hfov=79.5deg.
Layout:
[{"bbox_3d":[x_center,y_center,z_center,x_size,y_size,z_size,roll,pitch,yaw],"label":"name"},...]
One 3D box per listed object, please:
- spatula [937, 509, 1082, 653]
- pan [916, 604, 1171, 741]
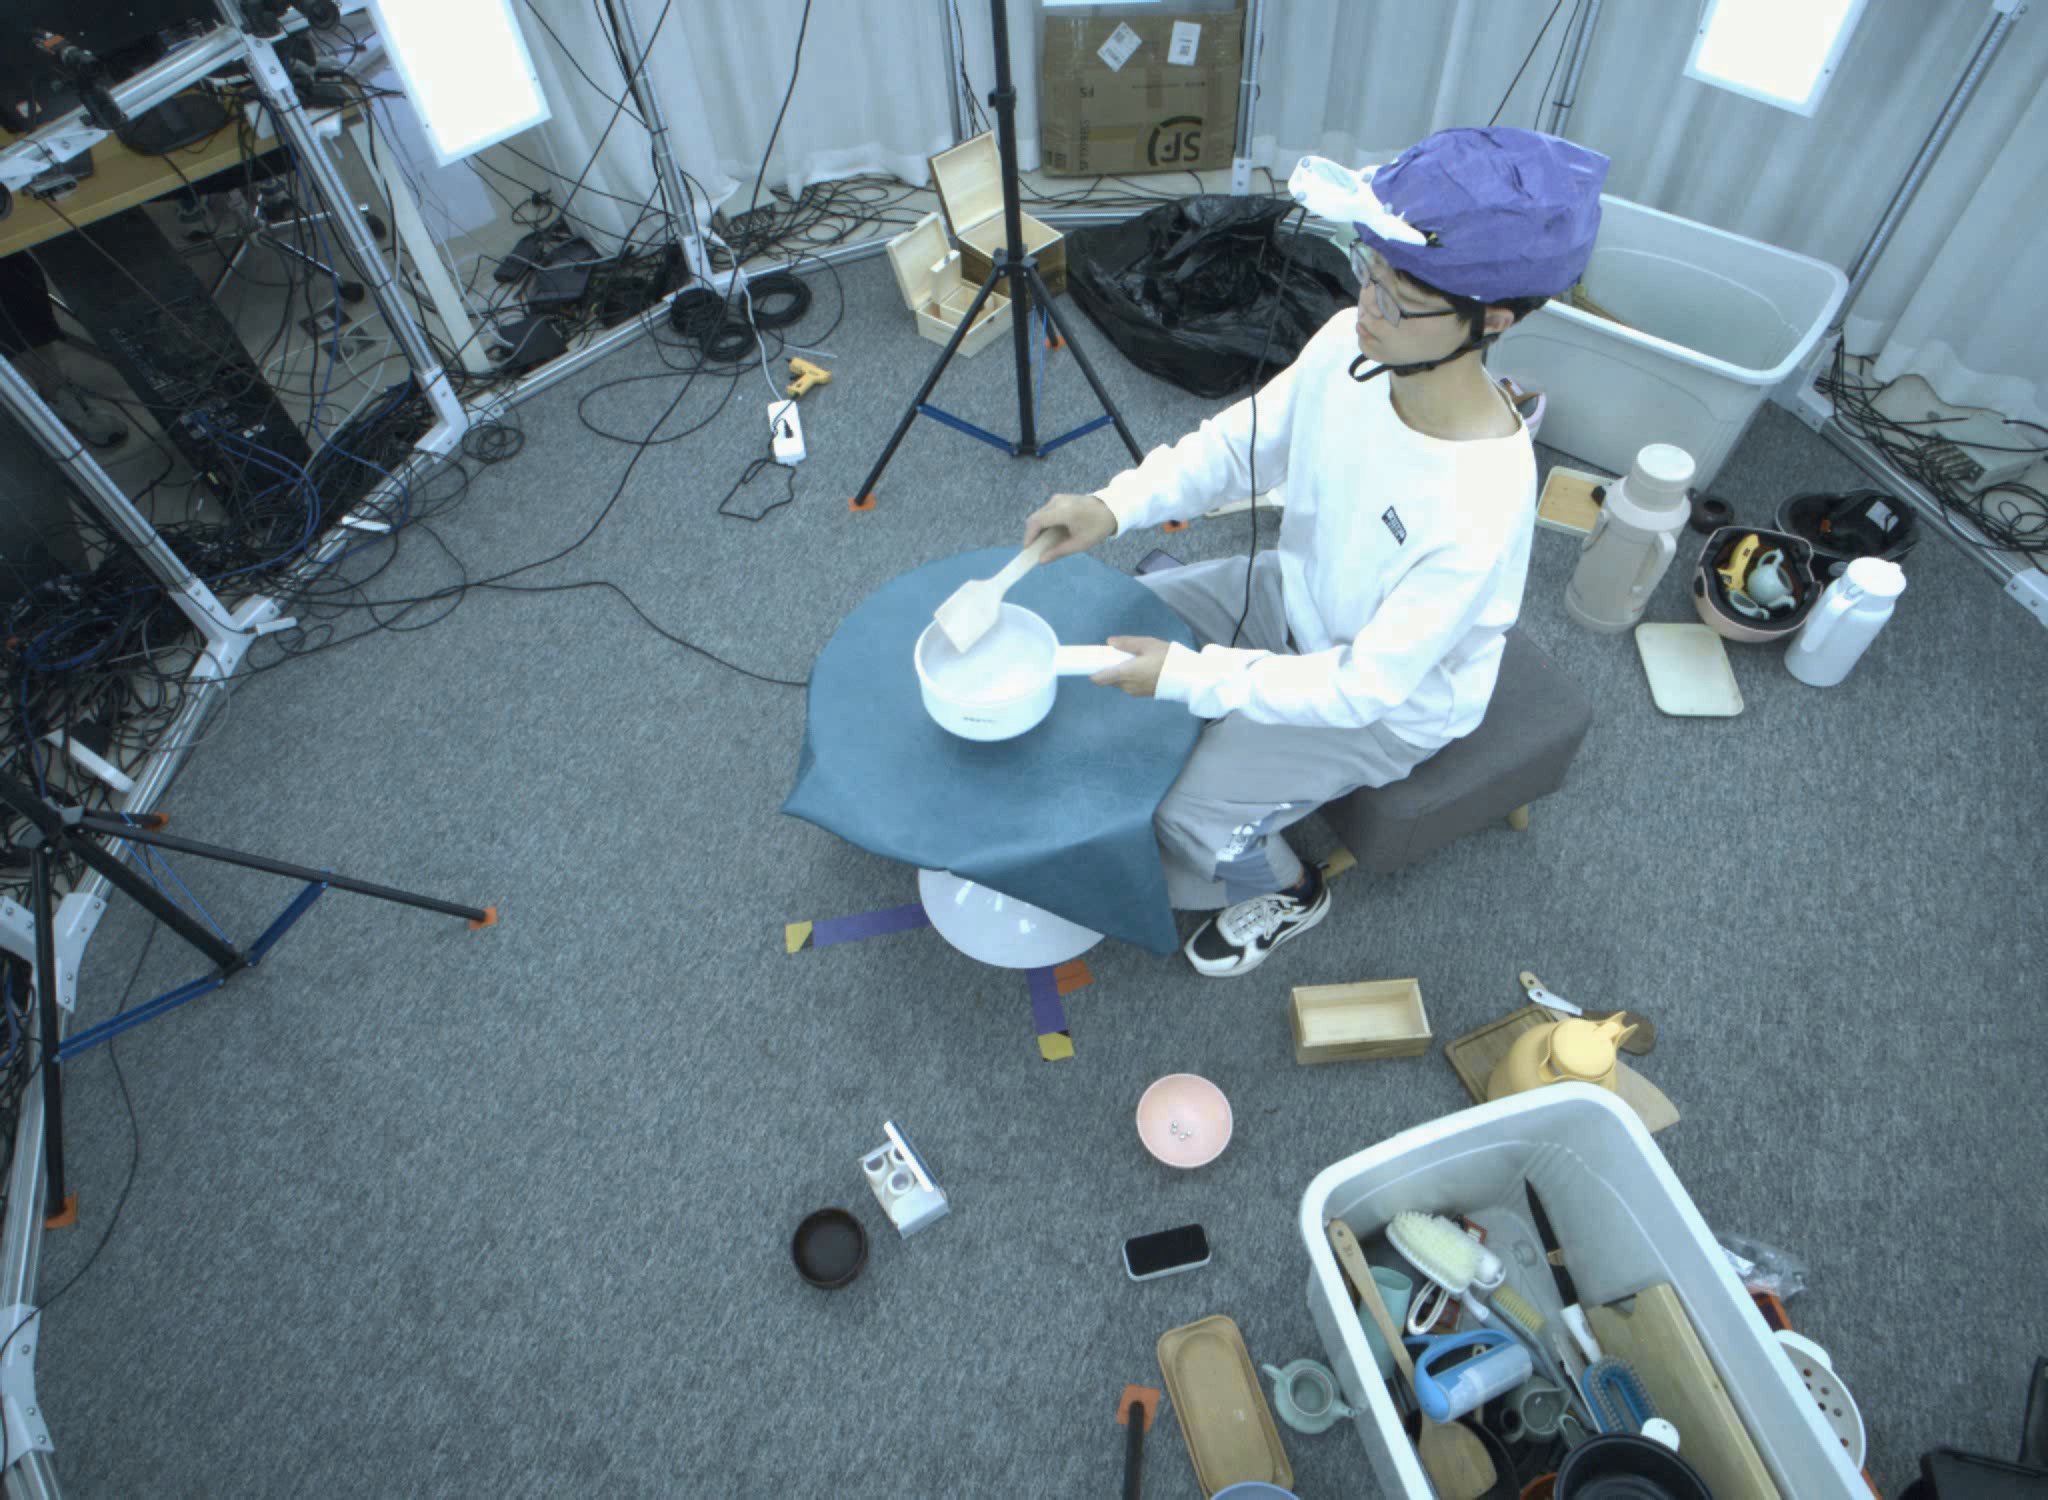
[{"bbox_3d":[-0.013,-0.253,1.743,0.294,0.073,0.010,-46,24,-26],"label":"spatula"},{"bbox_3d":[0.027,-0.105,1.741,0.355,0.103,0.199,0,49,-2],"label":"pan"}]
